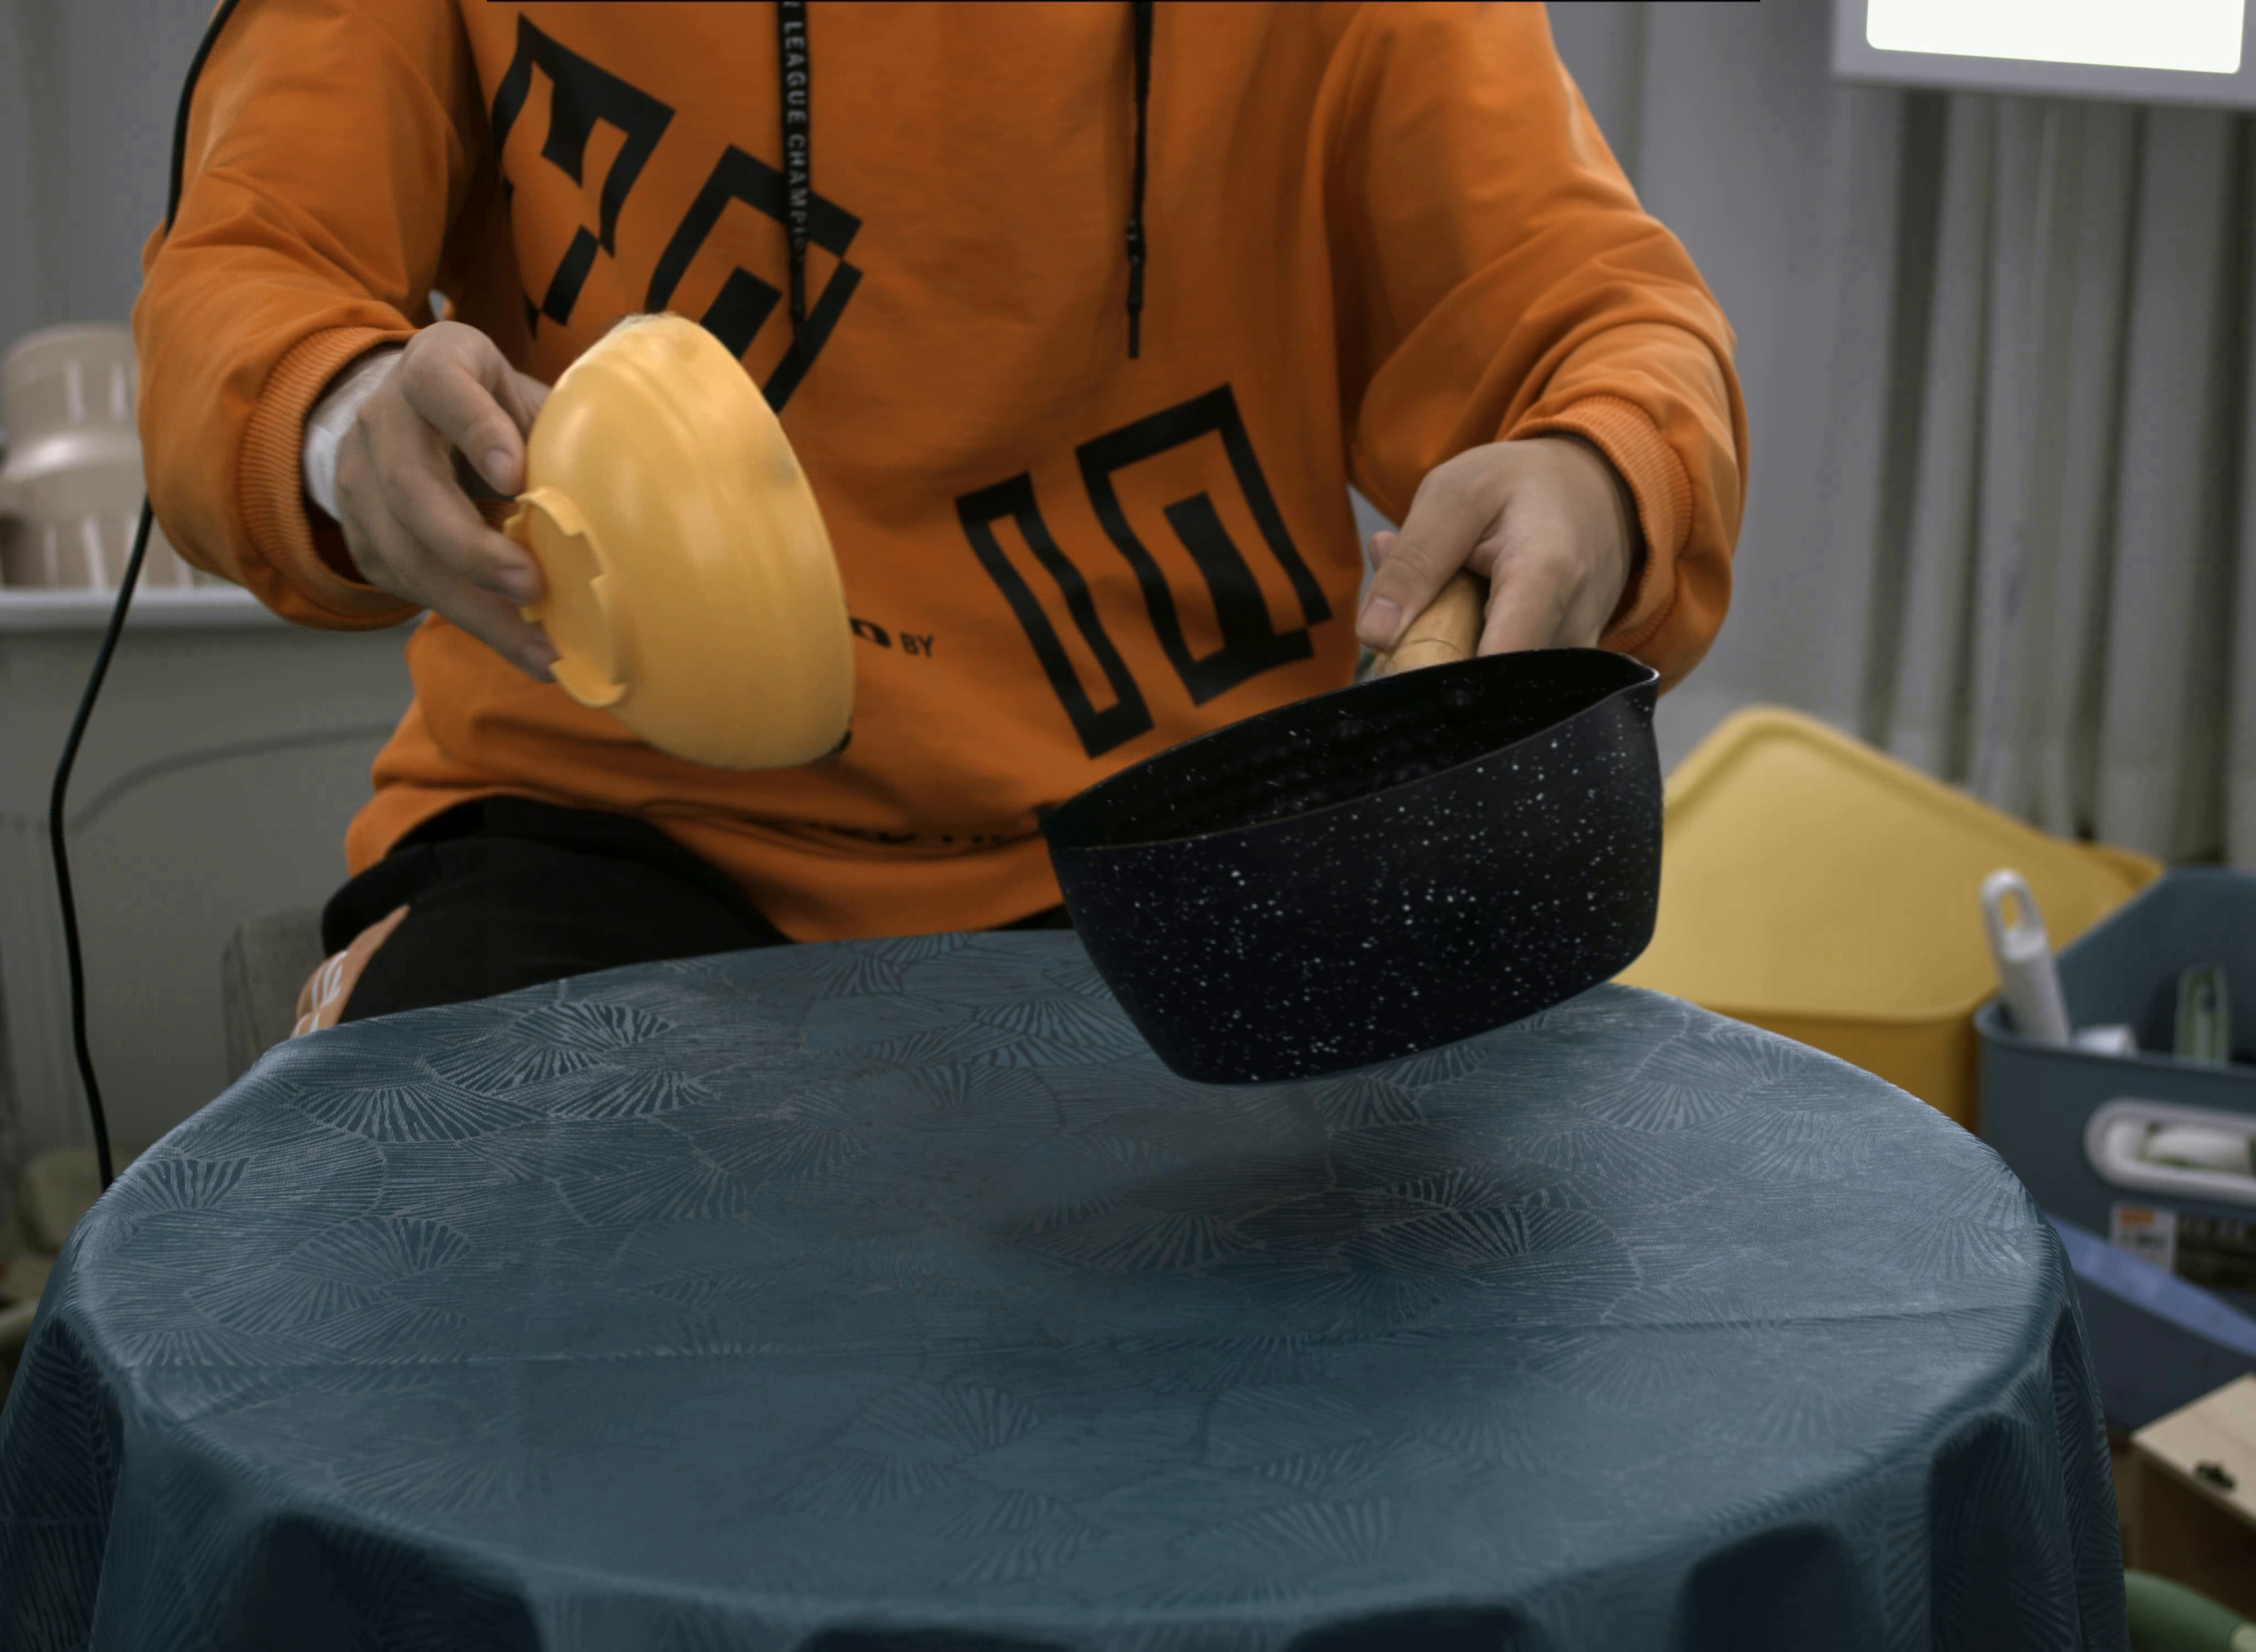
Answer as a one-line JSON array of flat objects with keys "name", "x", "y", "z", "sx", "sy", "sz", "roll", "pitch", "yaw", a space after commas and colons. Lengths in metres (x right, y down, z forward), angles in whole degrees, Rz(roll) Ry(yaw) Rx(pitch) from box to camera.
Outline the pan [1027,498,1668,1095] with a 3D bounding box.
[{"name": "pan", "x": 0.088, "y": -0.016, "z": 1.655, "sx": 0.206, "sy": 0.109, "sz": 0.342, "roll": -14, "pitch": 12, "yaw": 16}]

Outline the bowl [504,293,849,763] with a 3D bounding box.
[{"name": "bowl", "x": -0.141, "y": -0.078, "z": 1.537, "sx": 0.060, "sy": 0.147, "sz": 0.143, "roll": -23, "pitch": 25, "yaw": -24}]
